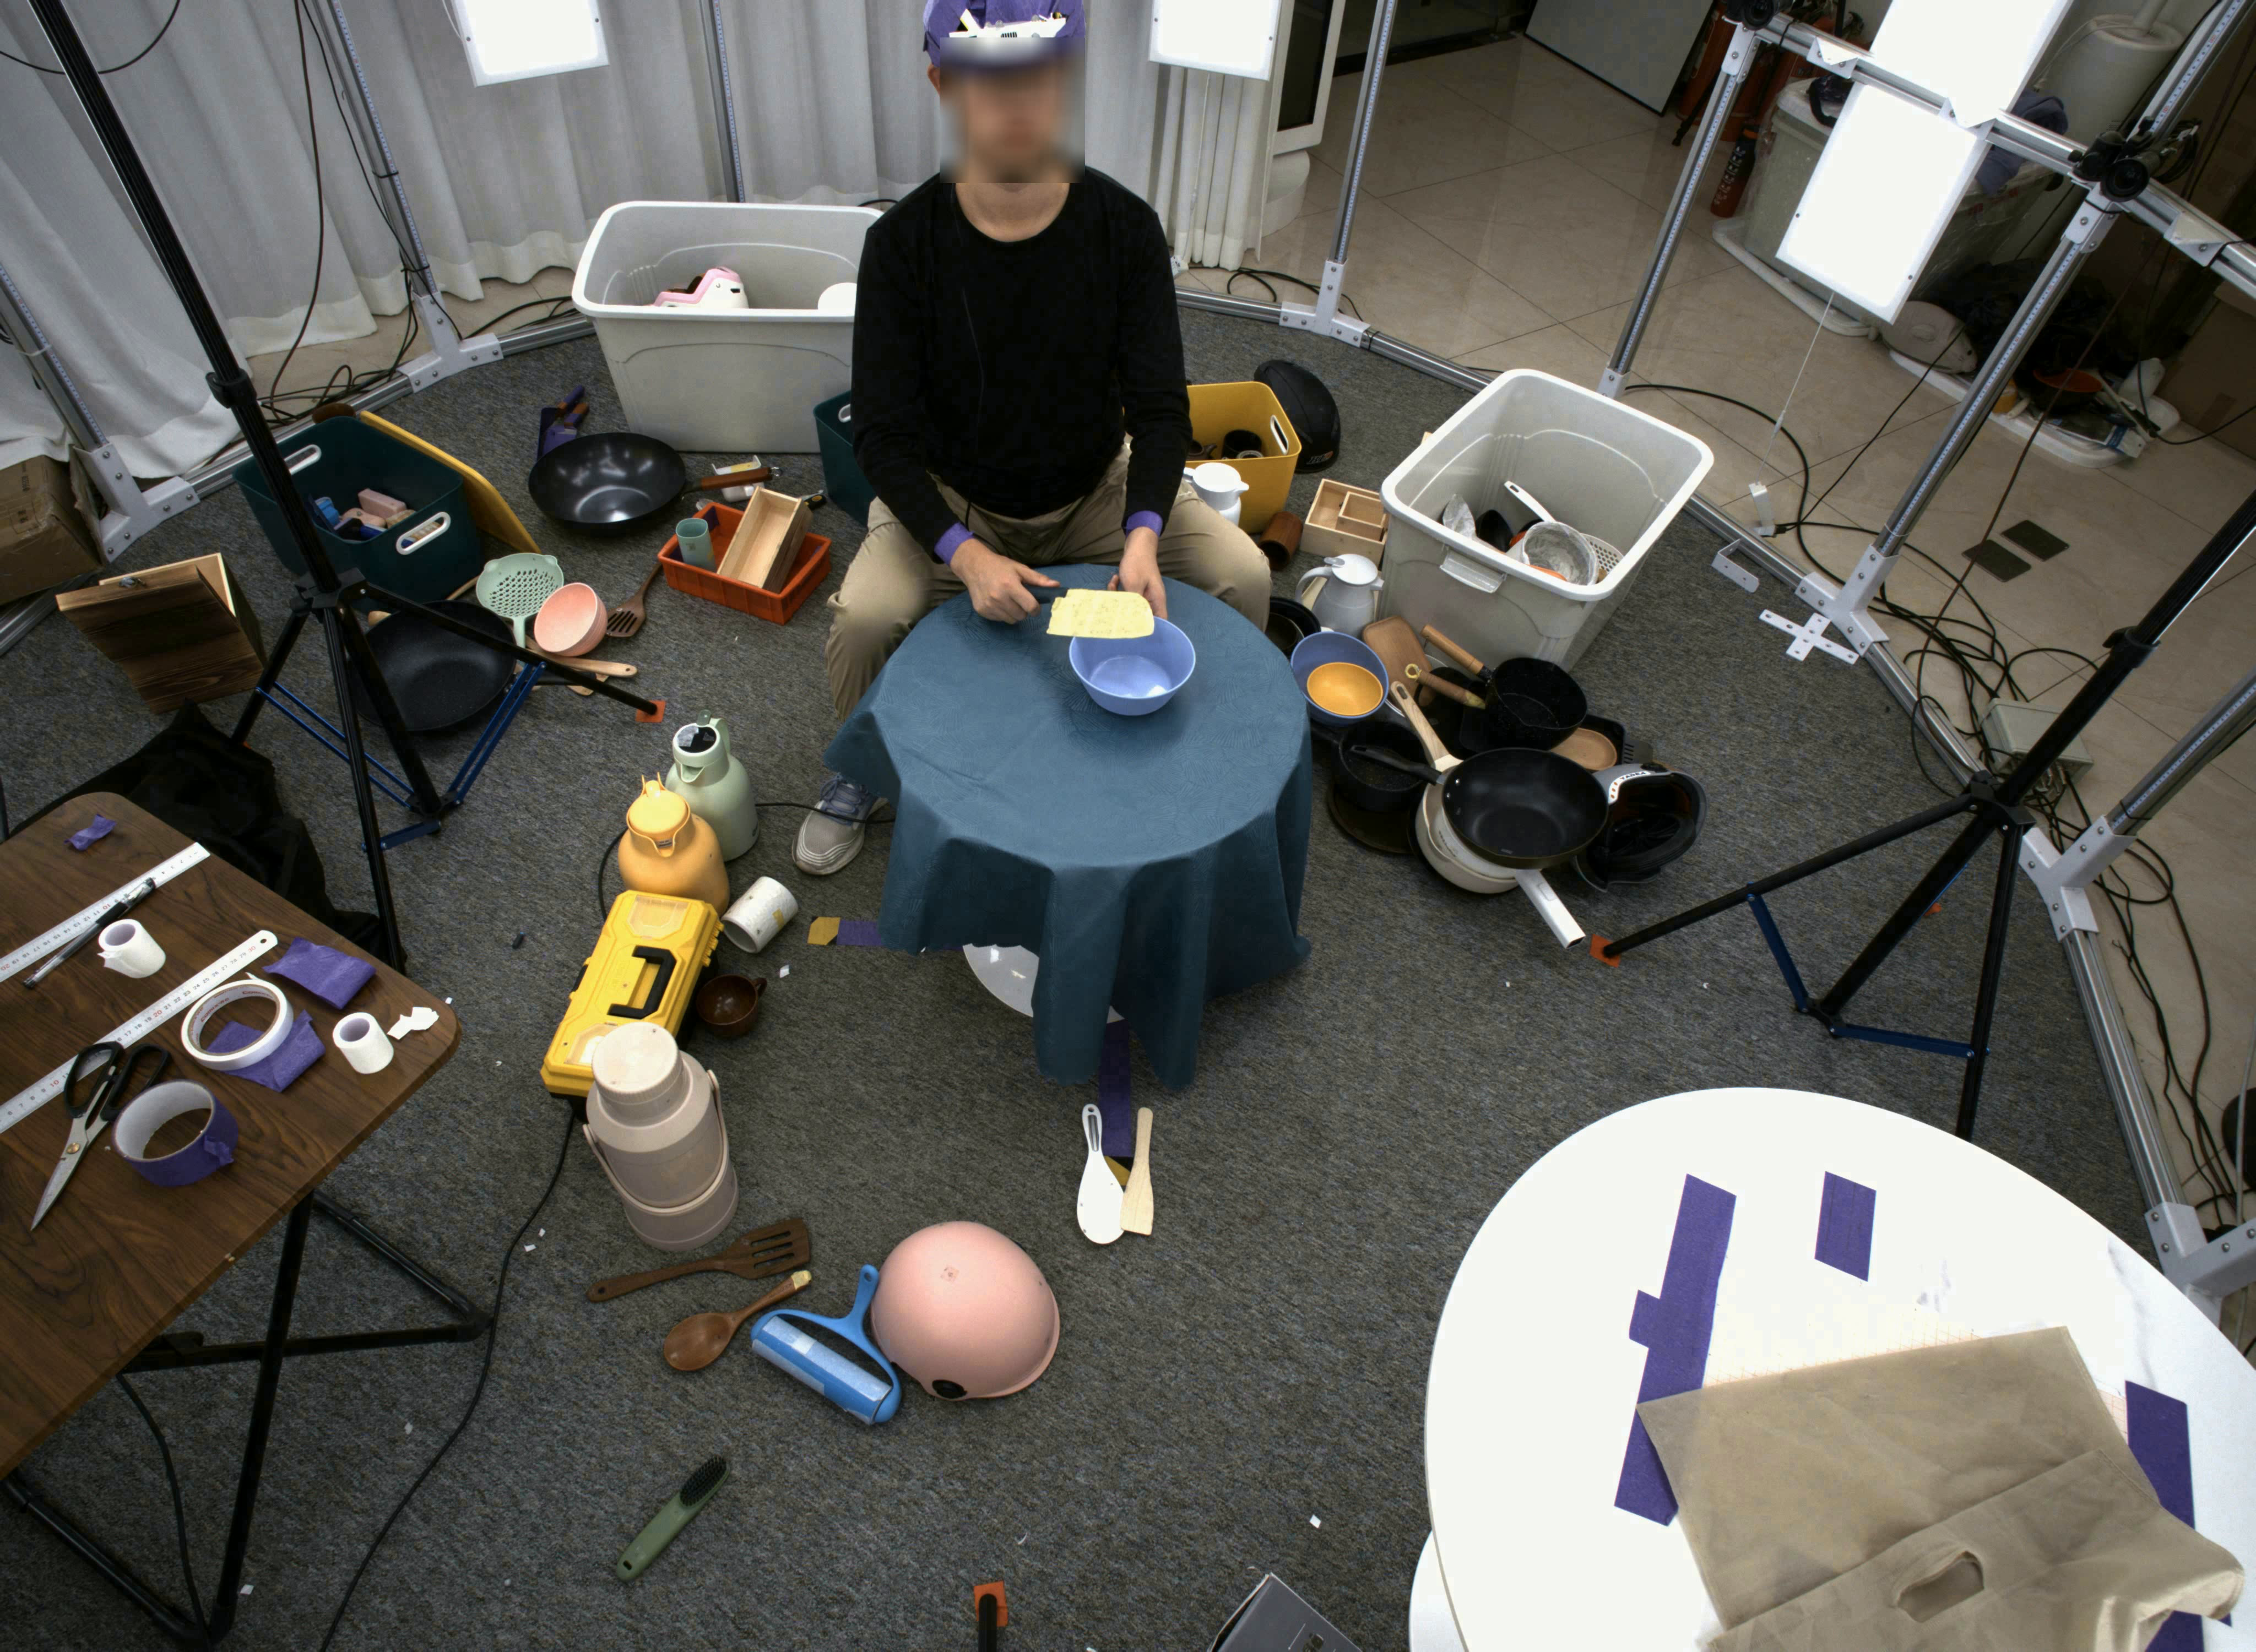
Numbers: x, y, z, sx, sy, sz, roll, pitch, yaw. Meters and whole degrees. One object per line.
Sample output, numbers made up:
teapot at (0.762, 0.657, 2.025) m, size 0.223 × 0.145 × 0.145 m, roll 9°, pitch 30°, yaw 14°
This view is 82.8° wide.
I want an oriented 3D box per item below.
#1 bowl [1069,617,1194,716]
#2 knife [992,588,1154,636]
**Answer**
bowl at (0.004, -0.219, 1.815) m, size 0.176 × 0.068 × 0.180 m, roll 1°, pitch 49°, yaw -2°
knife at (-0.083, -0.307, 1.835) m, size 0.292 × 0.027 × 0.082 m, roll 11°, pitch 72°, yaw 33°
